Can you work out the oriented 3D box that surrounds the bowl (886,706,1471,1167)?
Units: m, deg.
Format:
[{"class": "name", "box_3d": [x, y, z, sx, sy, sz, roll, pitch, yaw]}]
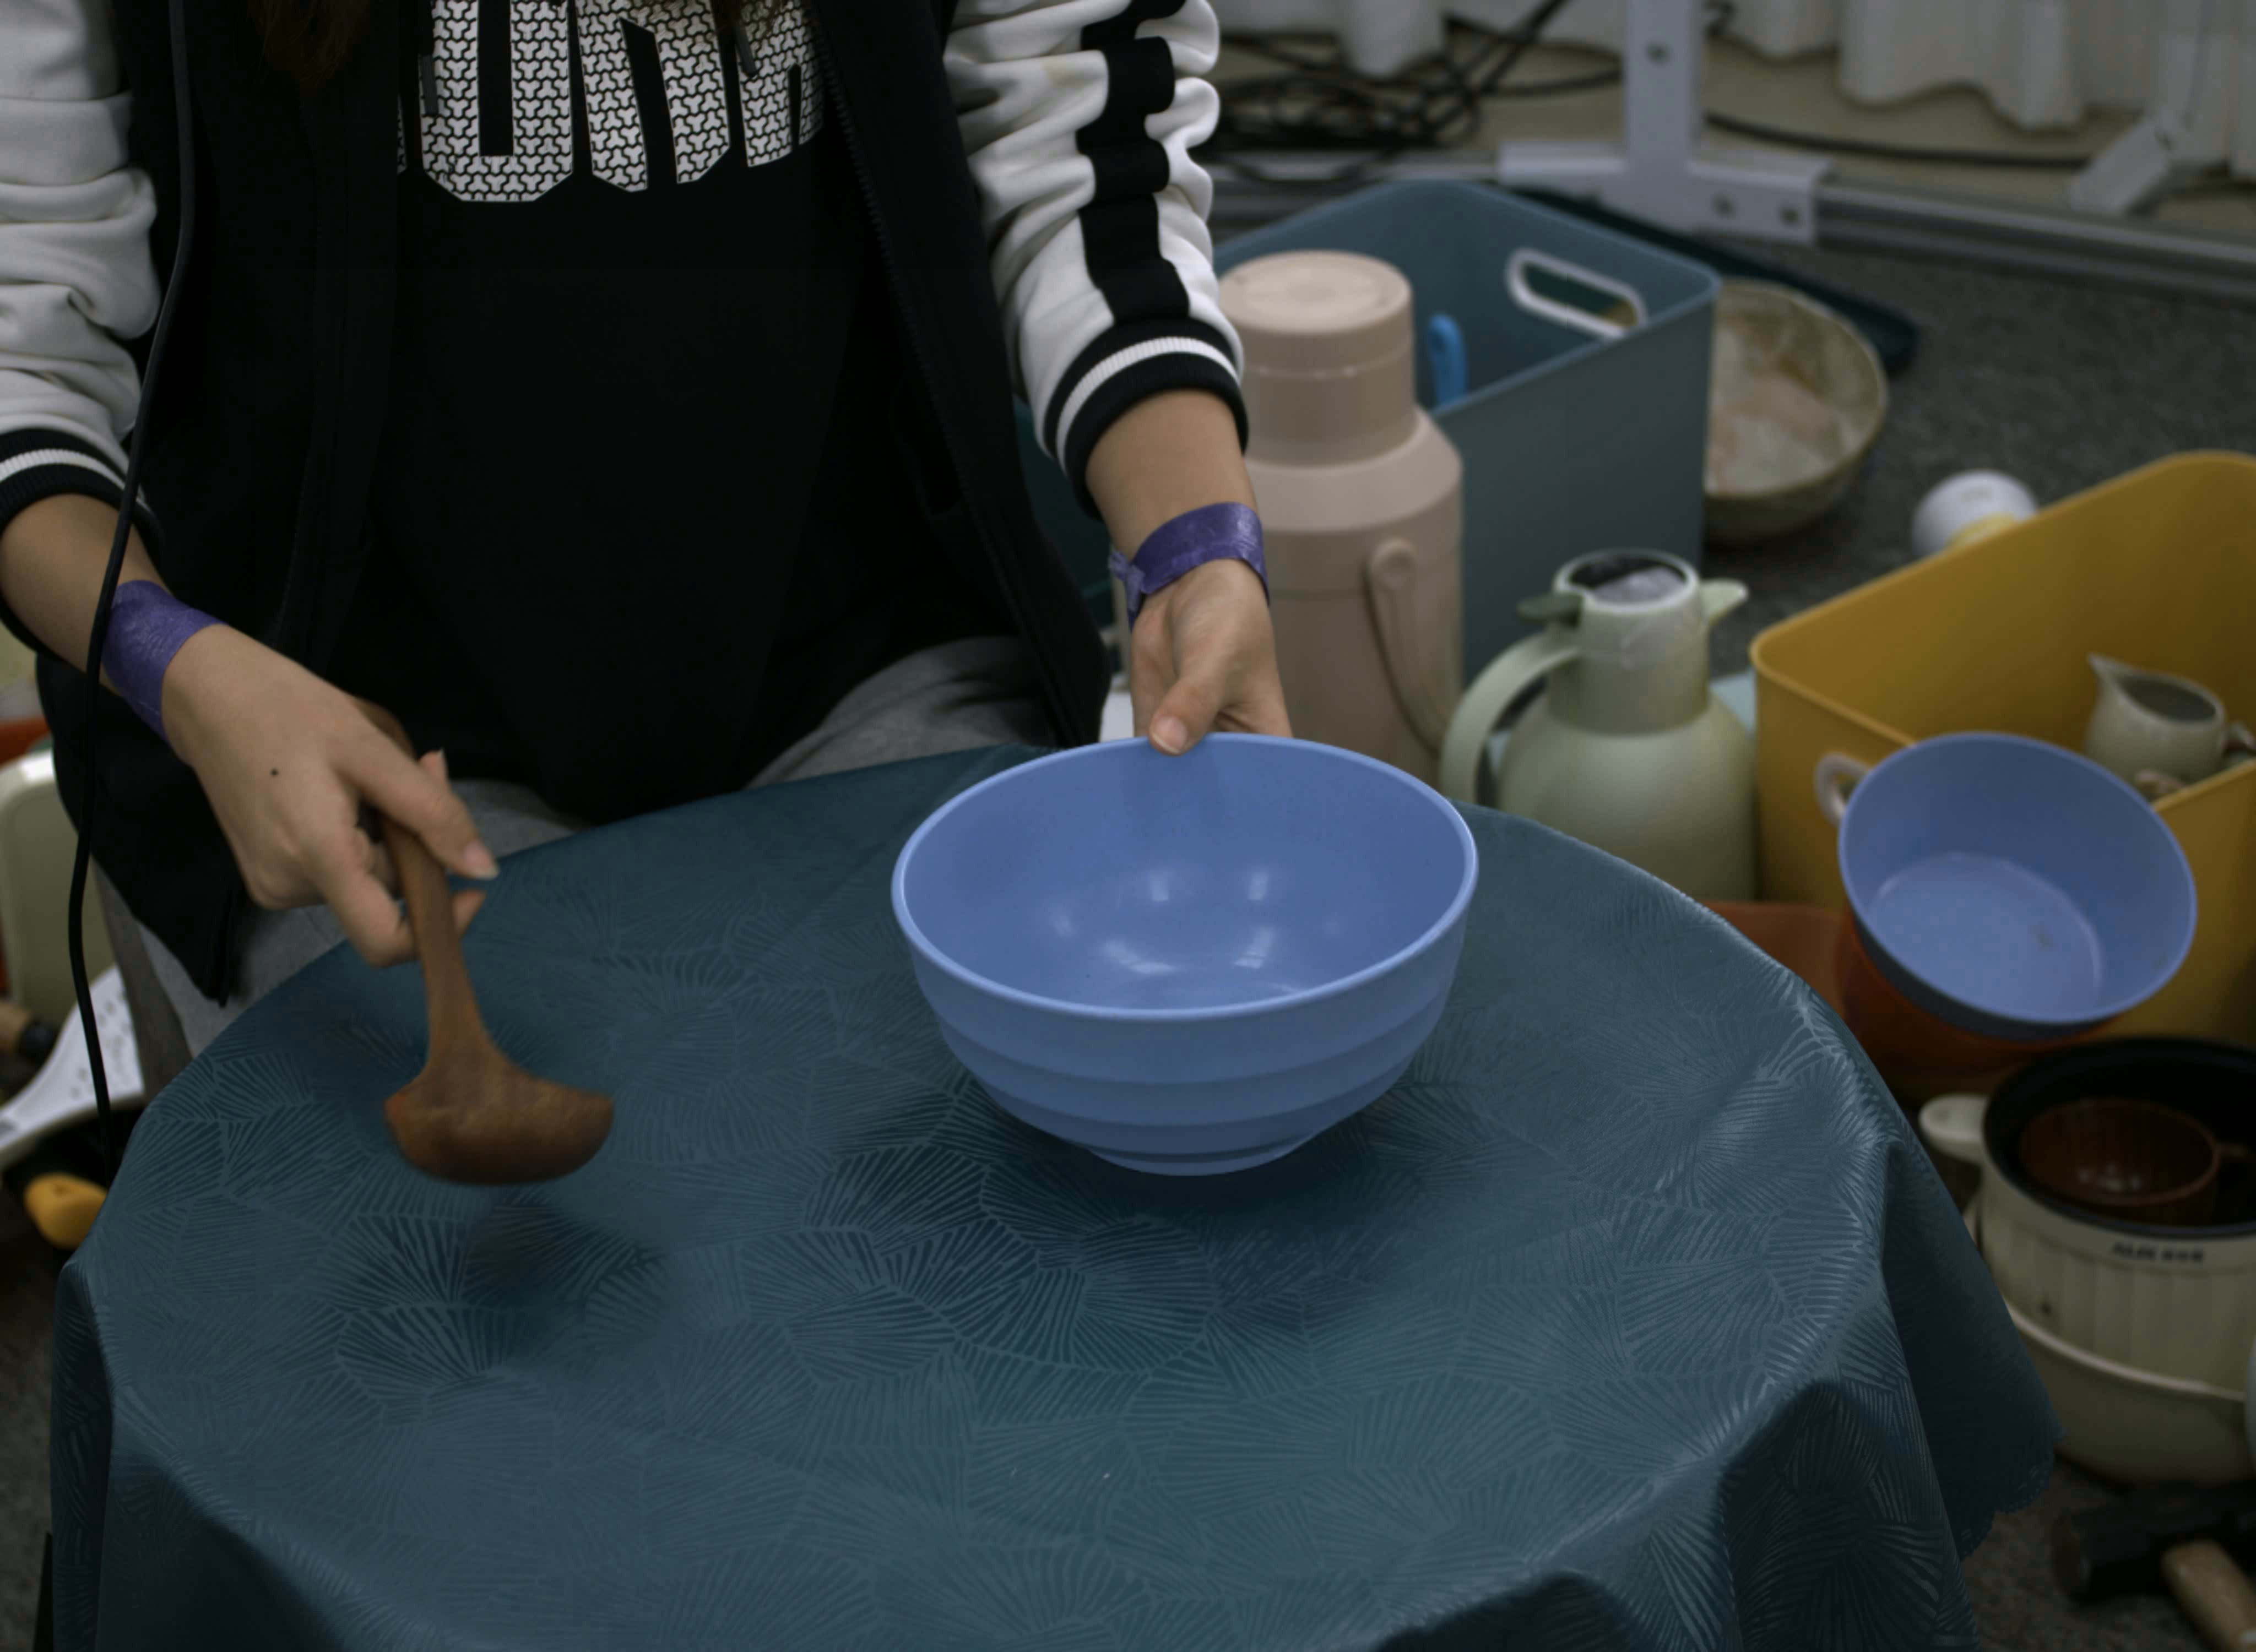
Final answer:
[{"class": "bowl", "box_3d": [0.021, 0.050, 1.896, 0.195, 0.094, 0.200, -5, 32, 3]}]

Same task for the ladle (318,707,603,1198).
[{"class": "ladle", "box_3d": [-0.234, 0.032, 1.886, 0.076, 0.064, 0.264, 4, 41, -25]}]
